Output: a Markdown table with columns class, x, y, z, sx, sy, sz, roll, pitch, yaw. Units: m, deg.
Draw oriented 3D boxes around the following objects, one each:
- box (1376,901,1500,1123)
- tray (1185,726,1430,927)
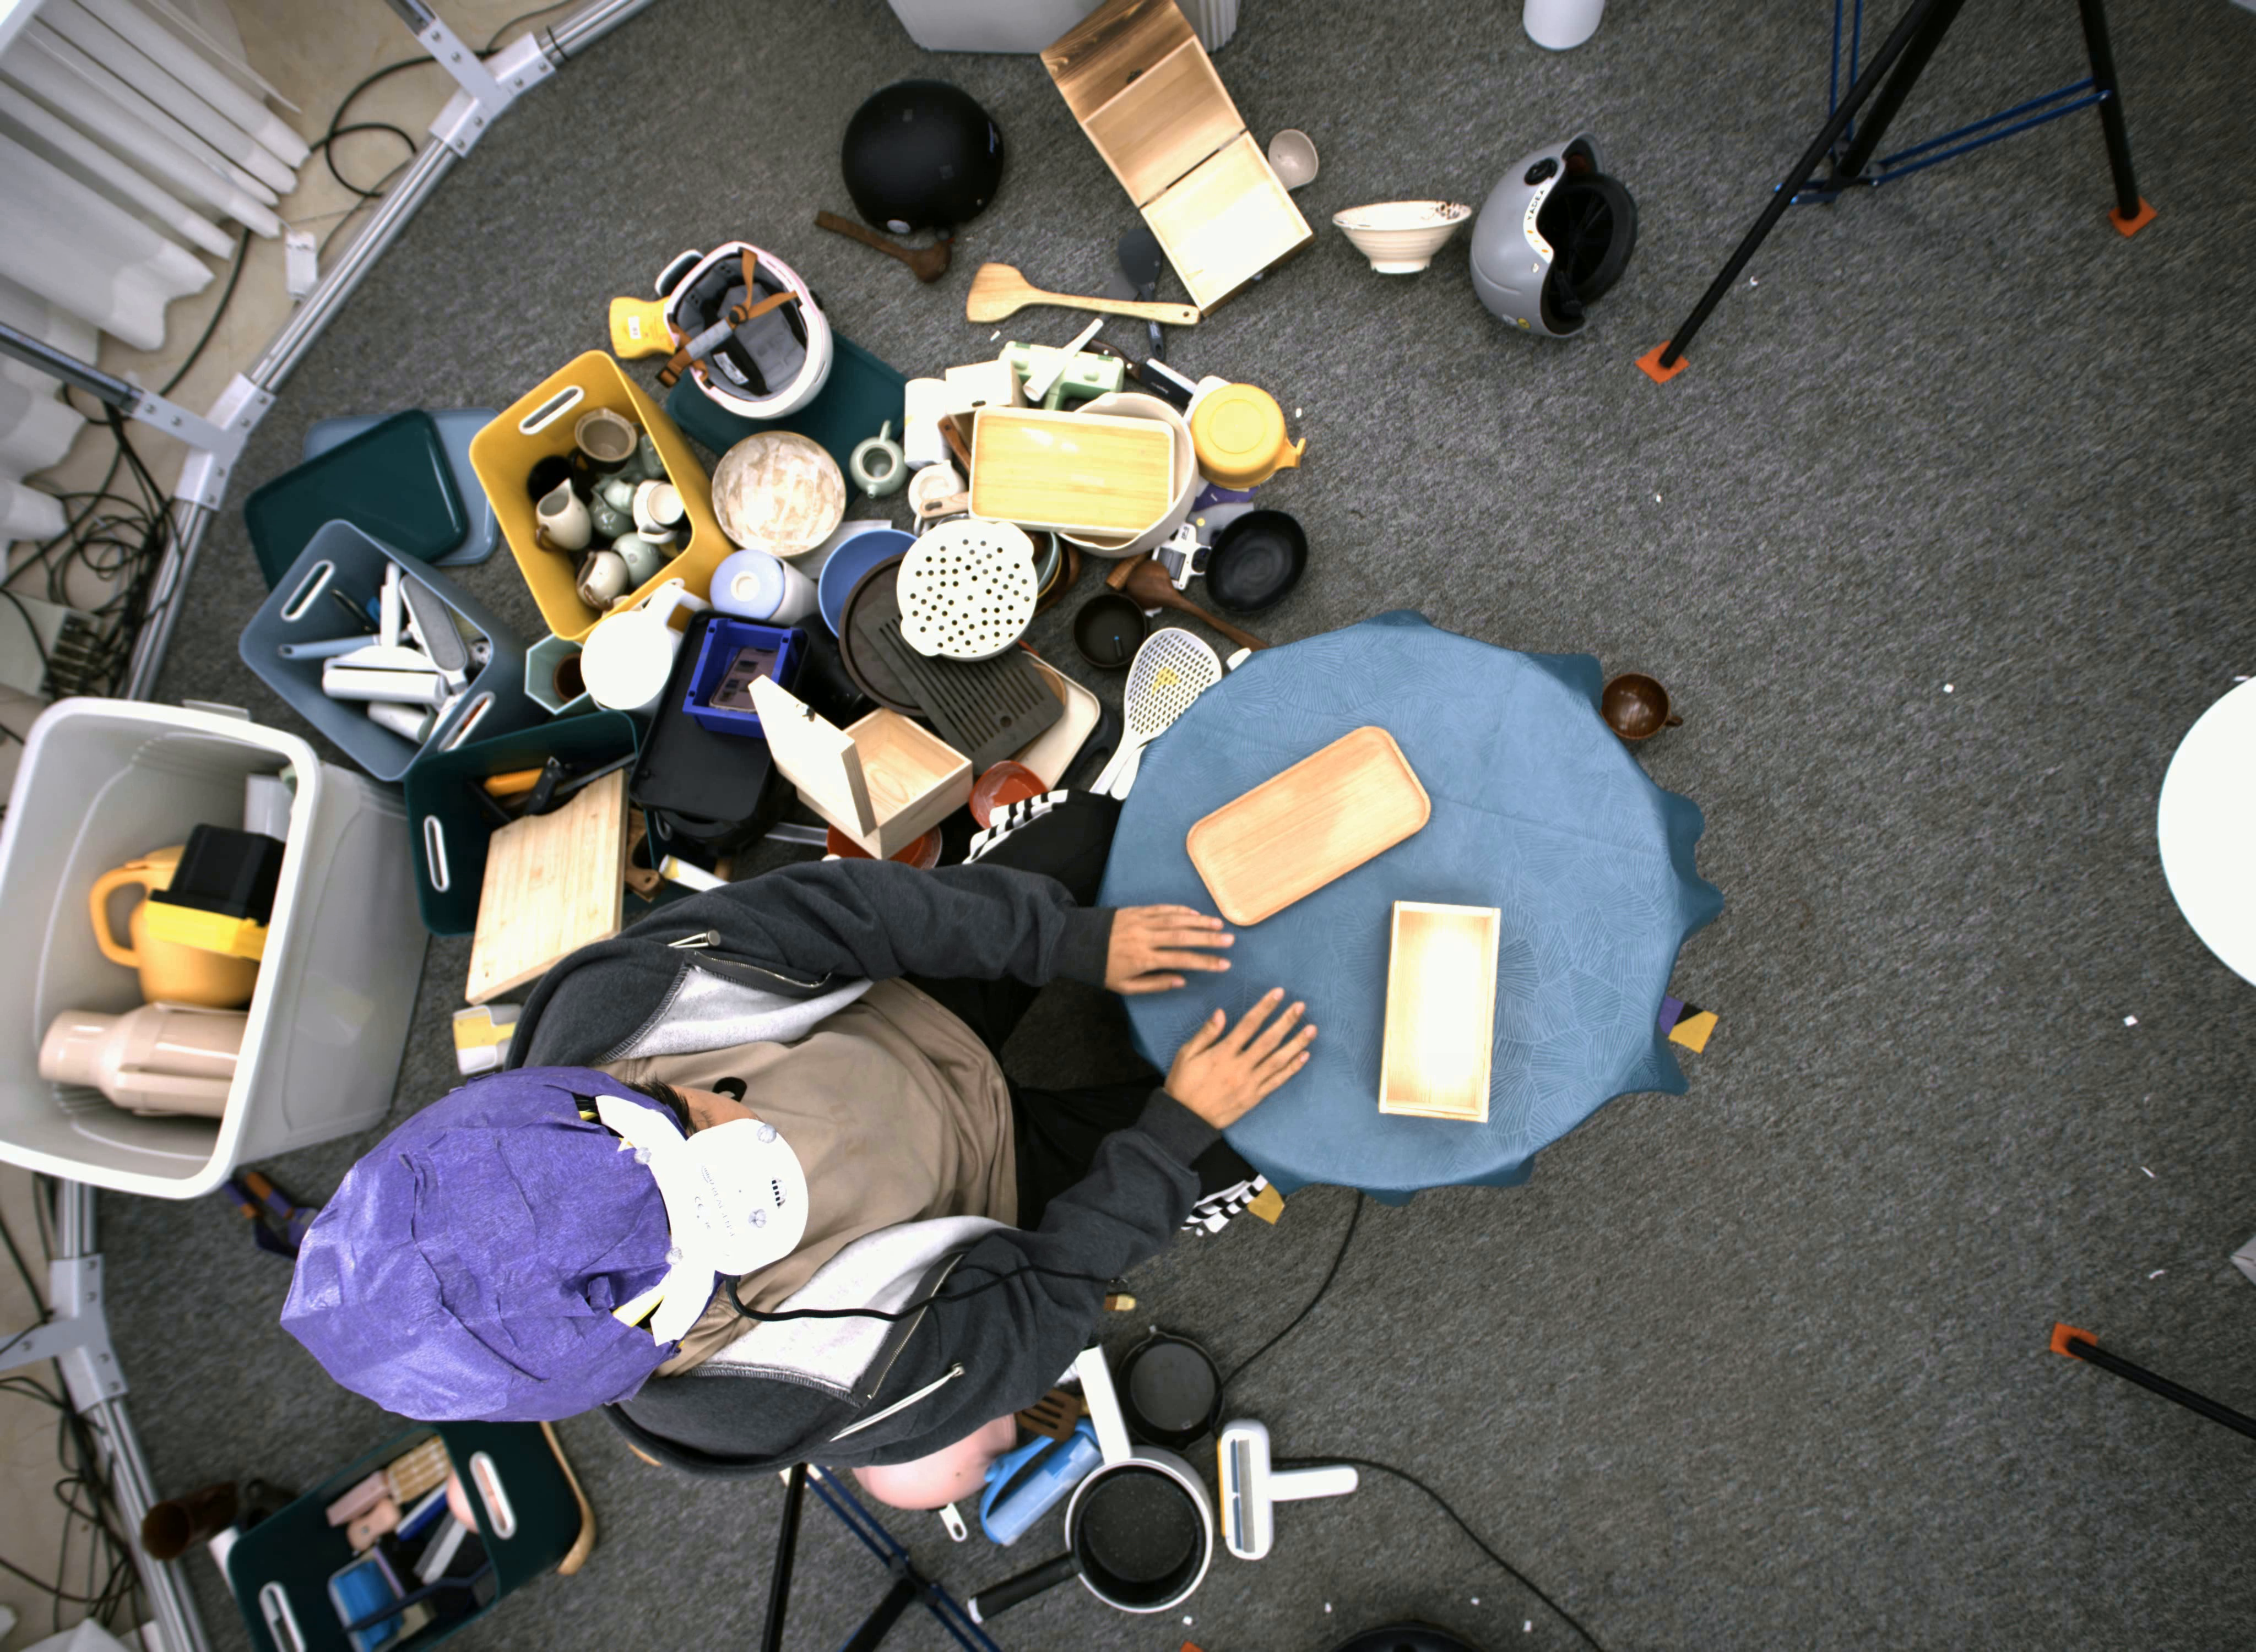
| class | x | y | z | sx | sy | sz | roll | pitch | yaw |
| --- | --- | --- | --- | --- | --- | --- | --- | --- | --- |
| box | 0.314 | 0.185 | 1.405 | 0.108 | 0.080 | 0.210 | 4 | 87 | 11 |
| tray | 0.190 | 0.000 | 1.469 | 0.252 | 0.023 | 0.129 | -30 | 79 | 8 |
